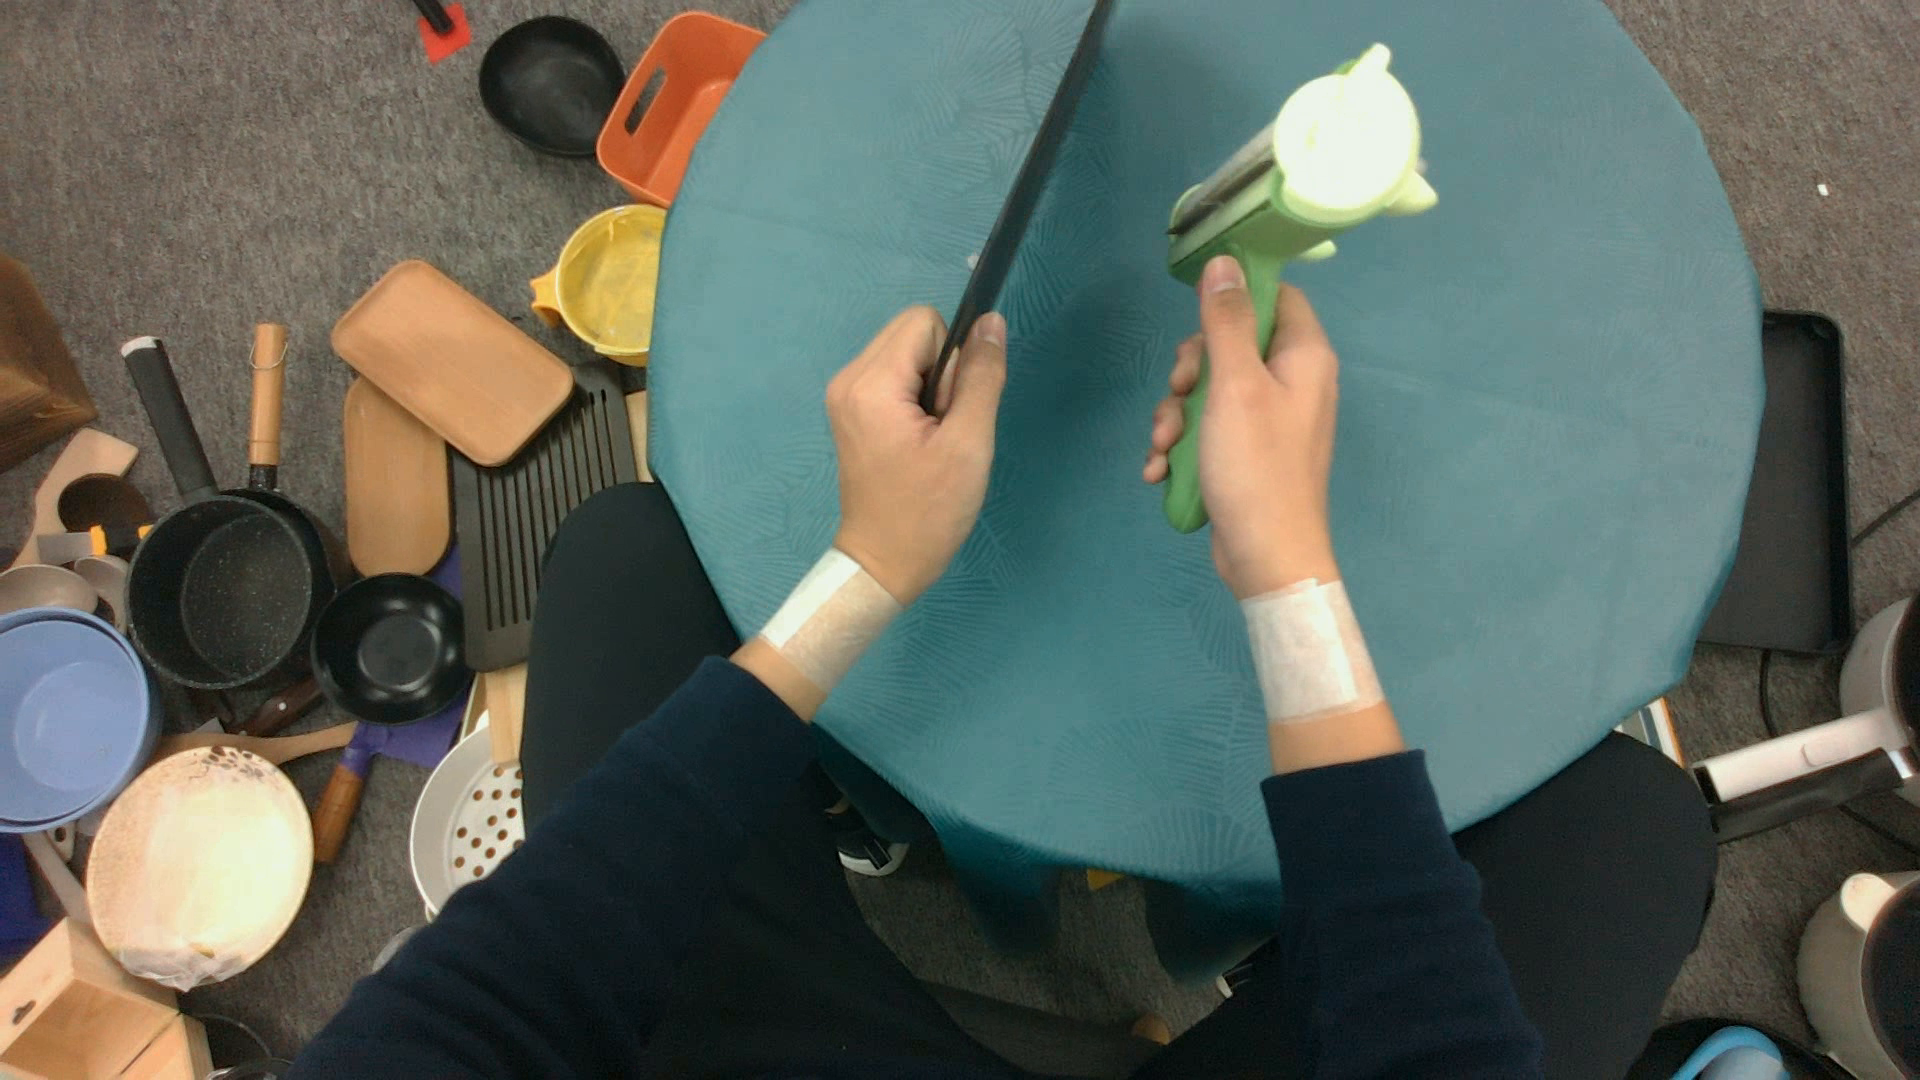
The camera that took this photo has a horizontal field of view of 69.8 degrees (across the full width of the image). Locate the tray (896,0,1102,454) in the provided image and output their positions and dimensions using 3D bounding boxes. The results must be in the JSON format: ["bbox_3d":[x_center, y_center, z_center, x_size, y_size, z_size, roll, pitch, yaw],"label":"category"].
[{"bbox_3d":[0.032,-0.193,0.659,0.010,0.210,0.326,23,76,-1],"label":"tray"}]

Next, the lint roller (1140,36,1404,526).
[{"bbox_3d":[0.128,-0.098,0.593,0.082,0.198,0.183,-1,94,-4],"label":"lint roller"}]
